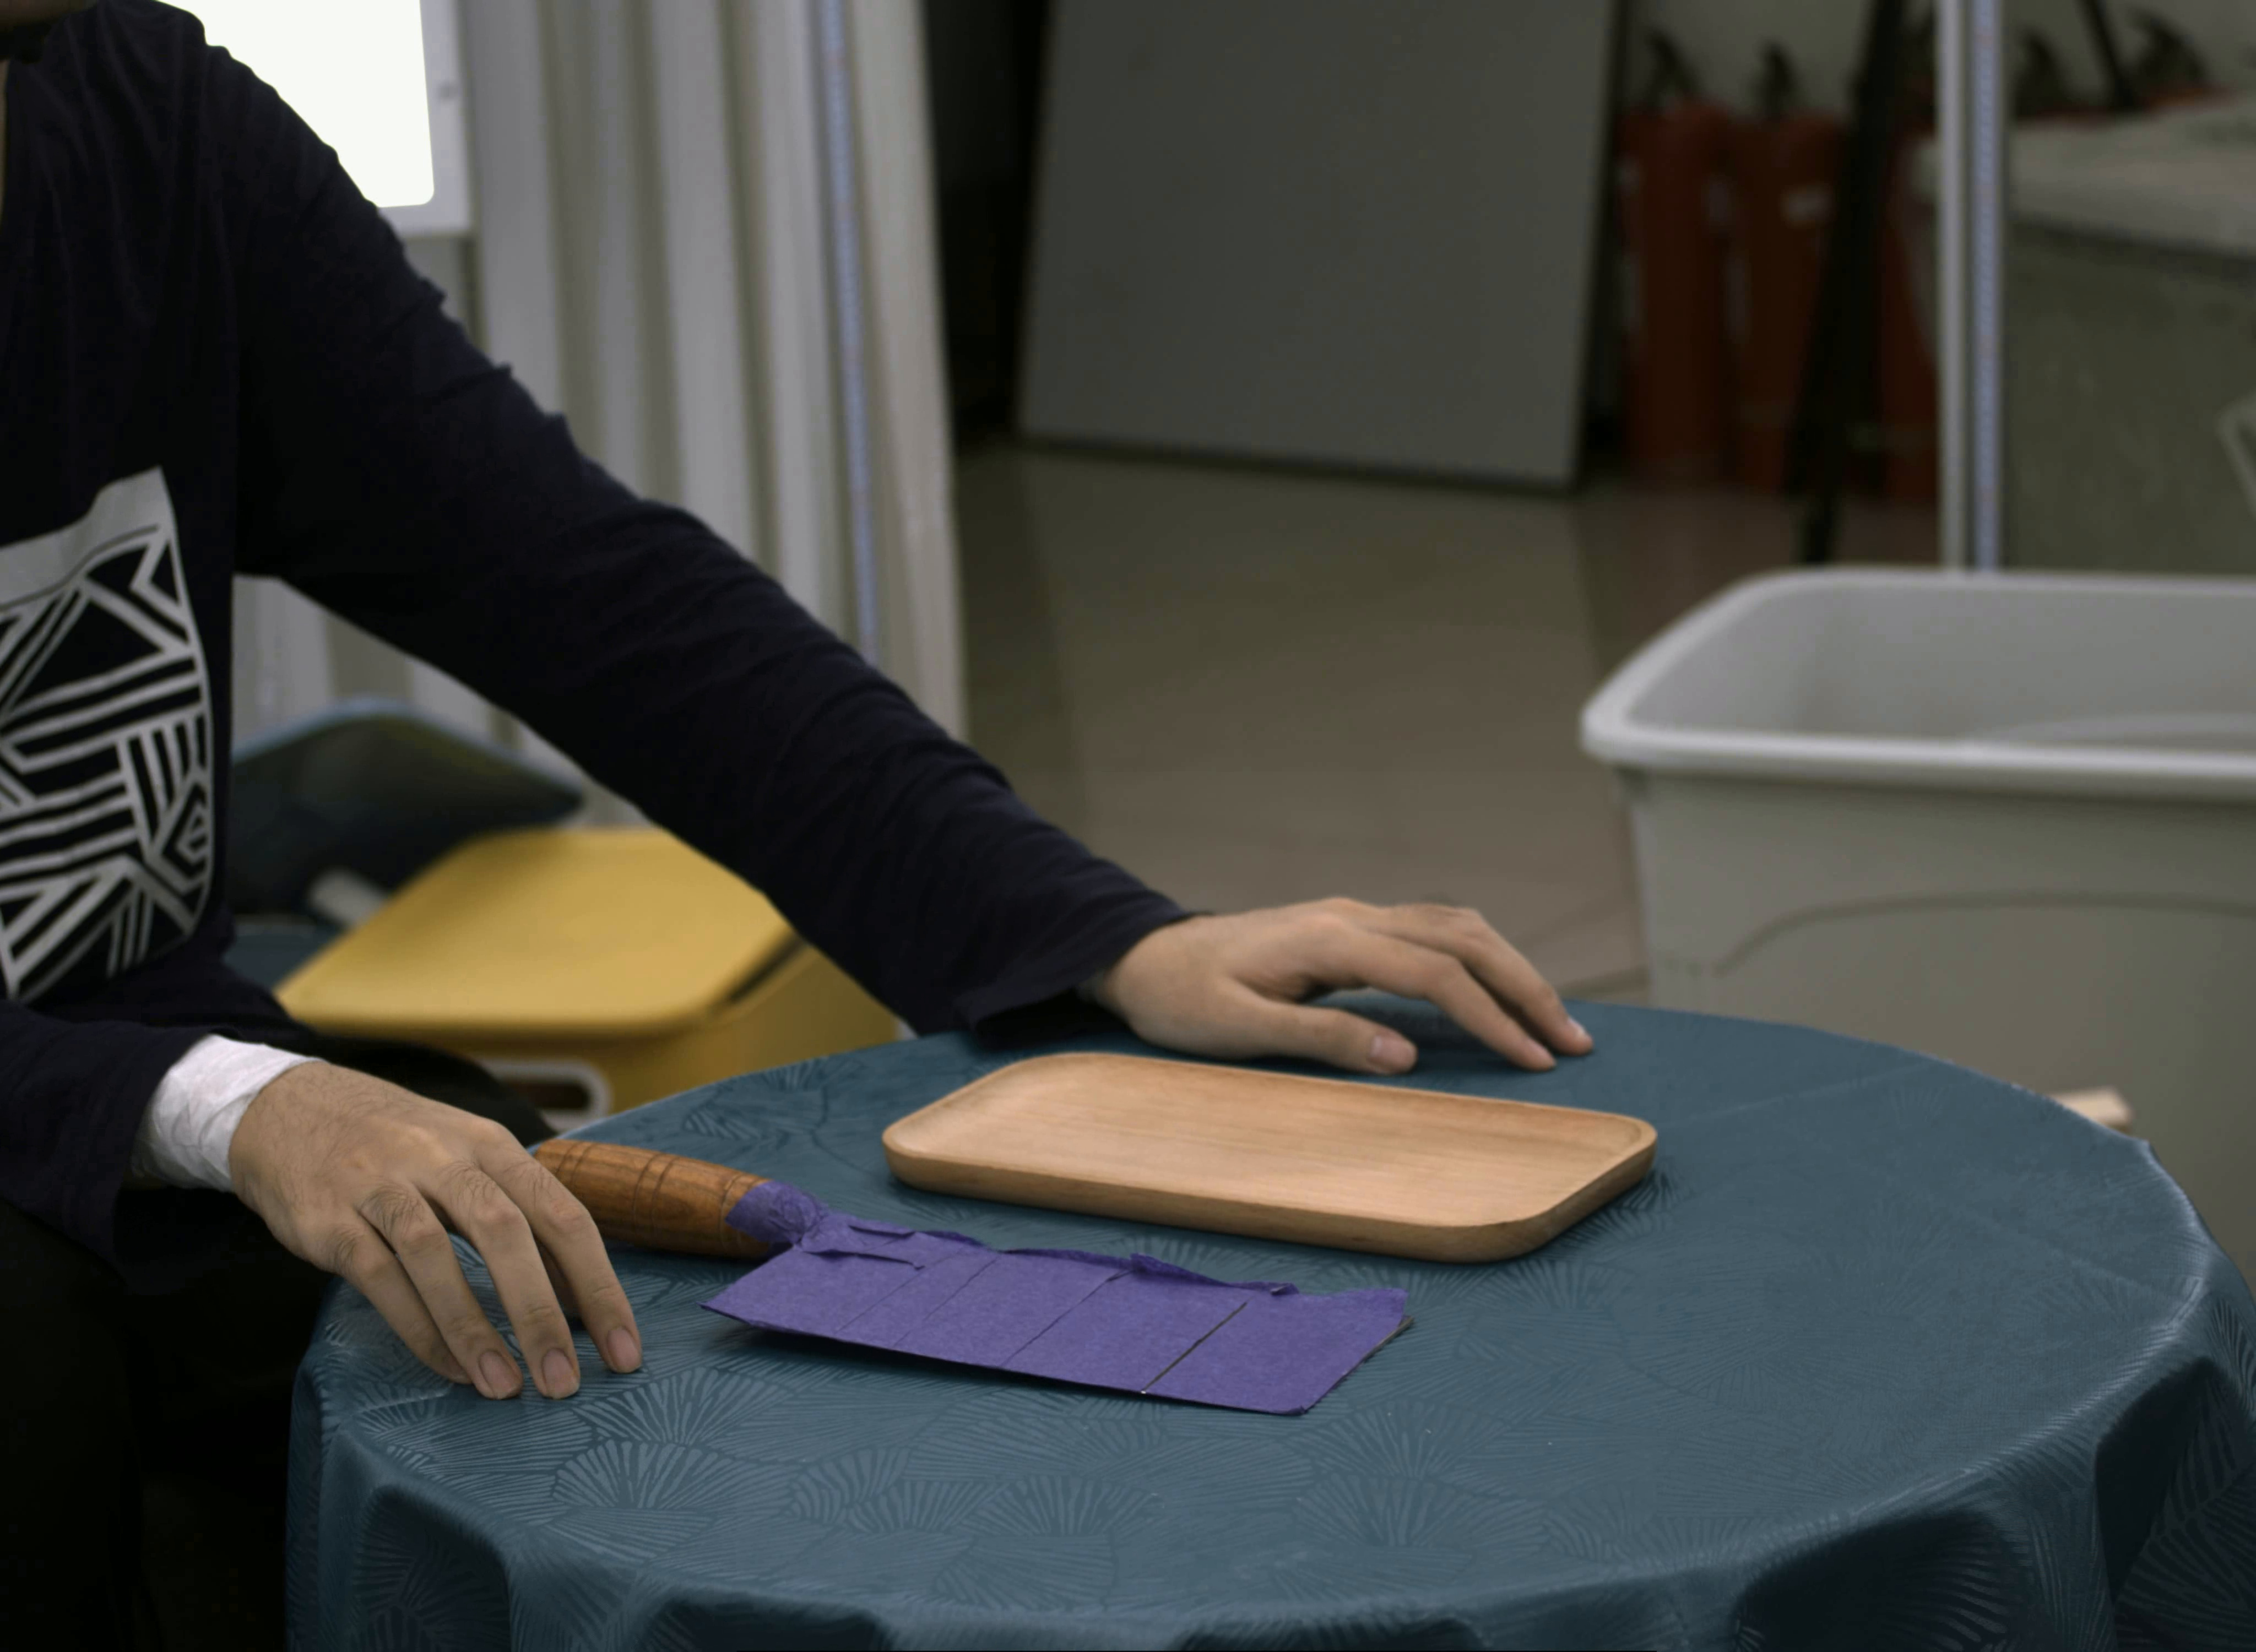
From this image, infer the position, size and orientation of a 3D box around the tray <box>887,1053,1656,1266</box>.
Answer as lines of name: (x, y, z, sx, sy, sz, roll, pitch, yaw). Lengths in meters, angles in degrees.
tray: (0.046, 0.109, 1.780, 0.252, 0.023, 0.128, 4, 14, 35)

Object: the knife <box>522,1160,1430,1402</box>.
knife: (-0.066, 0.139, 1.663, 0.316, 0.032, 0.102, 4, 15, 28)
